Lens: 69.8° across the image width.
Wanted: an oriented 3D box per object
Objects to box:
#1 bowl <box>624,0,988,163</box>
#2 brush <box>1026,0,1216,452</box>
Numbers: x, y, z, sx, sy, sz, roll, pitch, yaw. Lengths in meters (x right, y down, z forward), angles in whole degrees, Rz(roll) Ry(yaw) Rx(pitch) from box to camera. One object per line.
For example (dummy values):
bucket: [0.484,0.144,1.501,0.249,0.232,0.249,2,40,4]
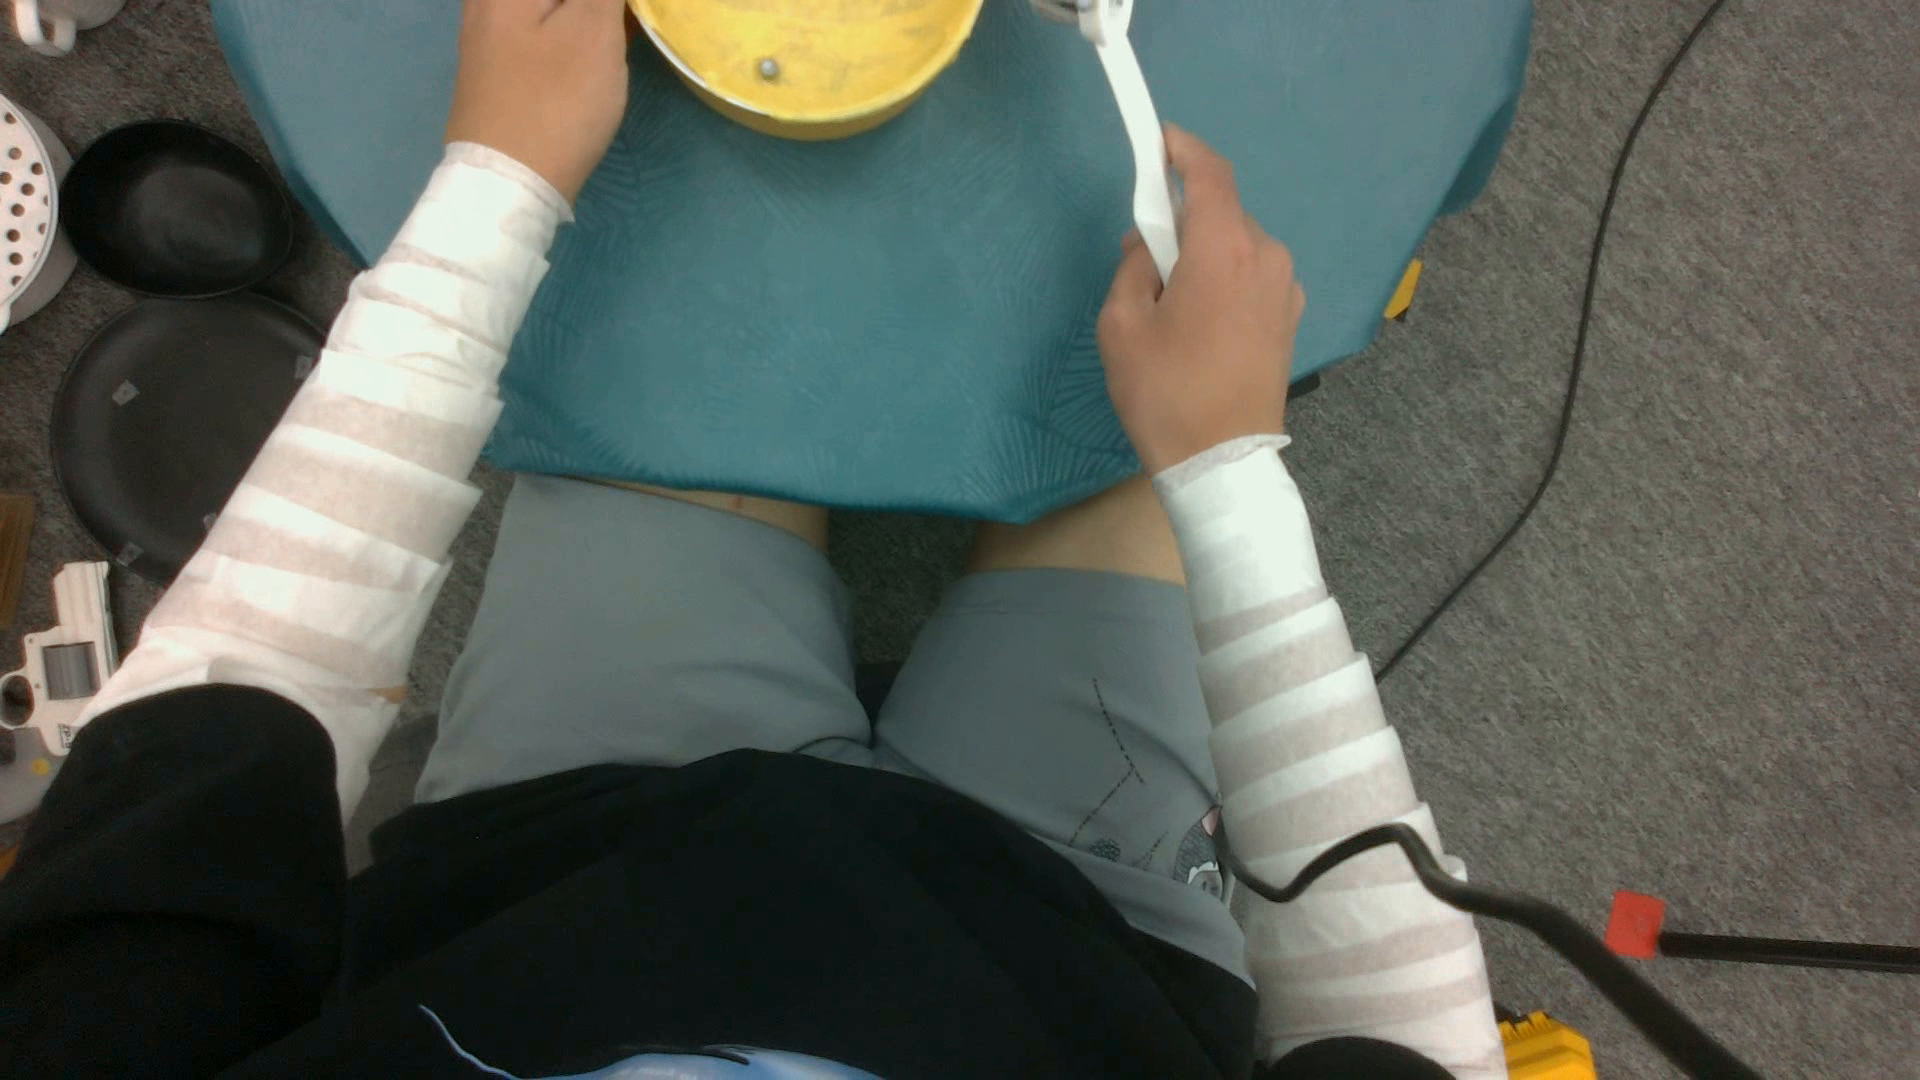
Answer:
bowl: [-0.071,-0.252,0.596,0.153,0.074,0.179,-33,94,0]
brush: [0.069,-0.154,0.600,0.050,0.034,0.243,-5,108,26]
